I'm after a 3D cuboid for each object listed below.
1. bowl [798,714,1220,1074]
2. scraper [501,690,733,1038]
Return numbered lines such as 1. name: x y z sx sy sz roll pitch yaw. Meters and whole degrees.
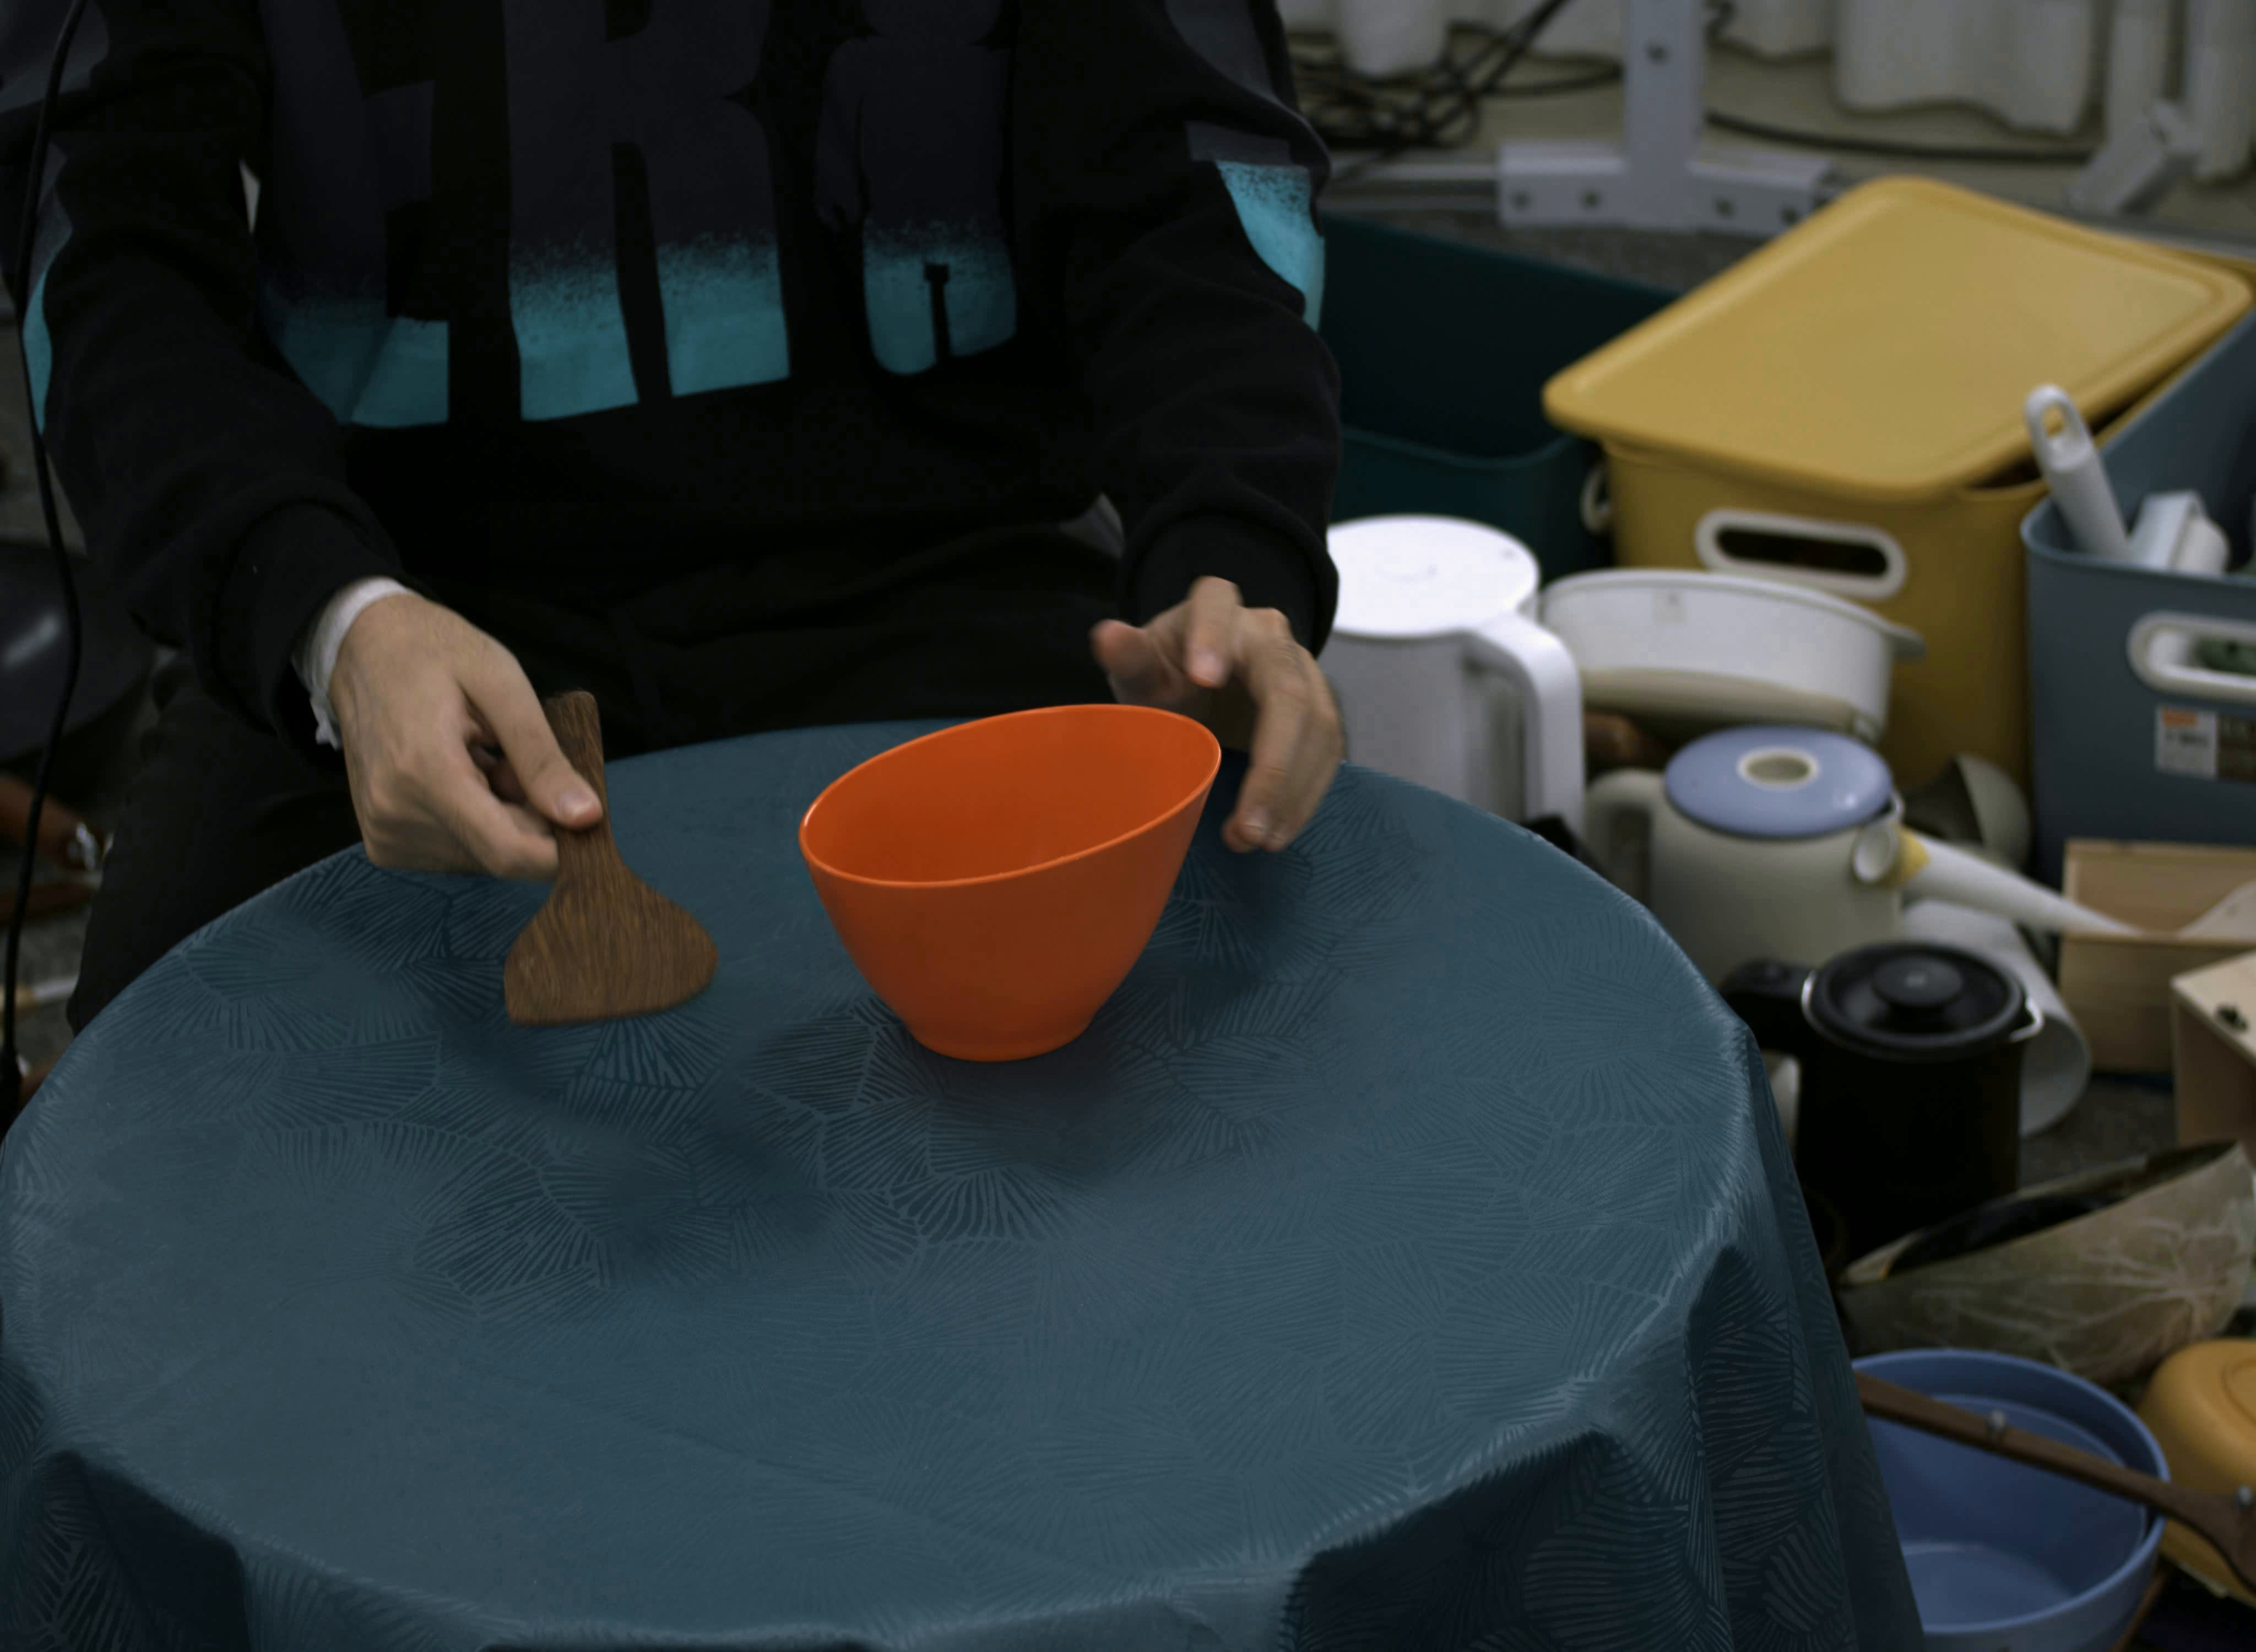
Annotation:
1. bowl: -0.038 0.027 1.942 0.147 0.103 0.150 -4 26 2
2. scraper: -0.183 0.012 1.917 0.075 0.010 0.214 -7 34 -7
